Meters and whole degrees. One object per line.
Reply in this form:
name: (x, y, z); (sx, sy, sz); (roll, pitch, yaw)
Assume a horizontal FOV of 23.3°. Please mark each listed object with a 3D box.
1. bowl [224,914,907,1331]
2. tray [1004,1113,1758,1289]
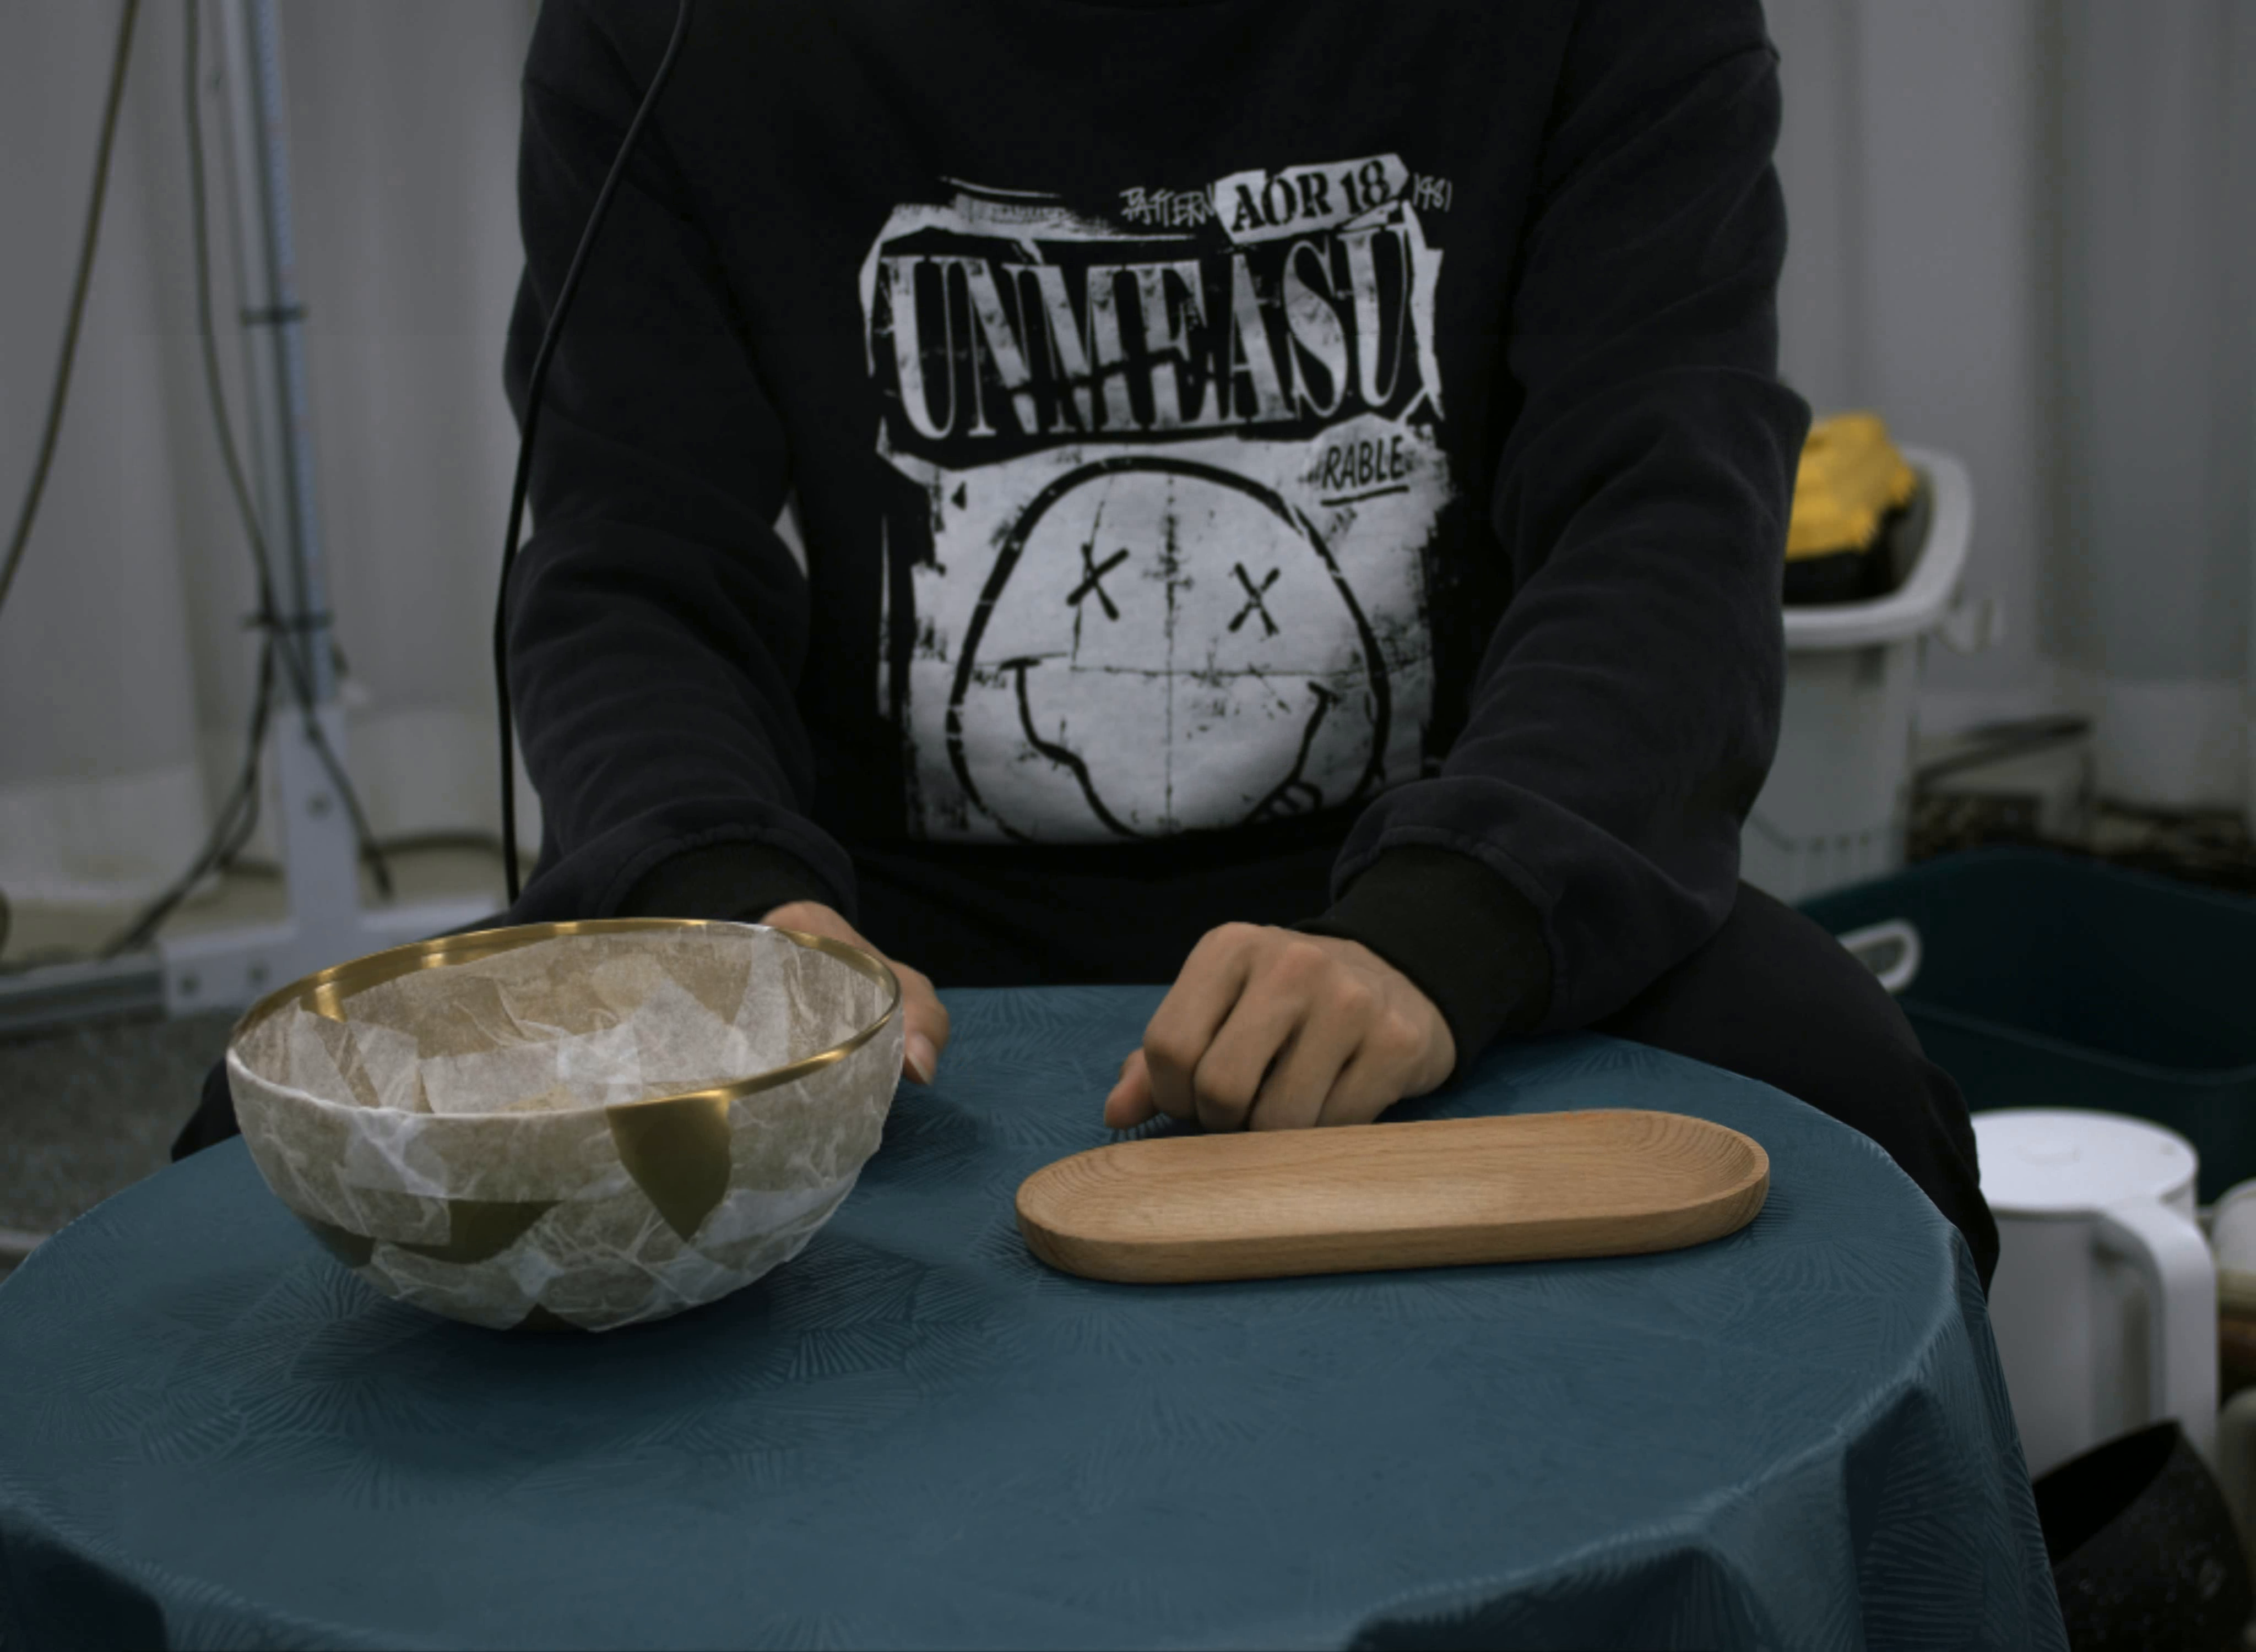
bowl: (-0.161, 0.096, 1.636); (0.214, 0.094, 0.216); (-4, 14, 1)
tray: (0.077, 0.115, 1.670); (0.230, 0.020, 0.102); (-5, 13, -2)
